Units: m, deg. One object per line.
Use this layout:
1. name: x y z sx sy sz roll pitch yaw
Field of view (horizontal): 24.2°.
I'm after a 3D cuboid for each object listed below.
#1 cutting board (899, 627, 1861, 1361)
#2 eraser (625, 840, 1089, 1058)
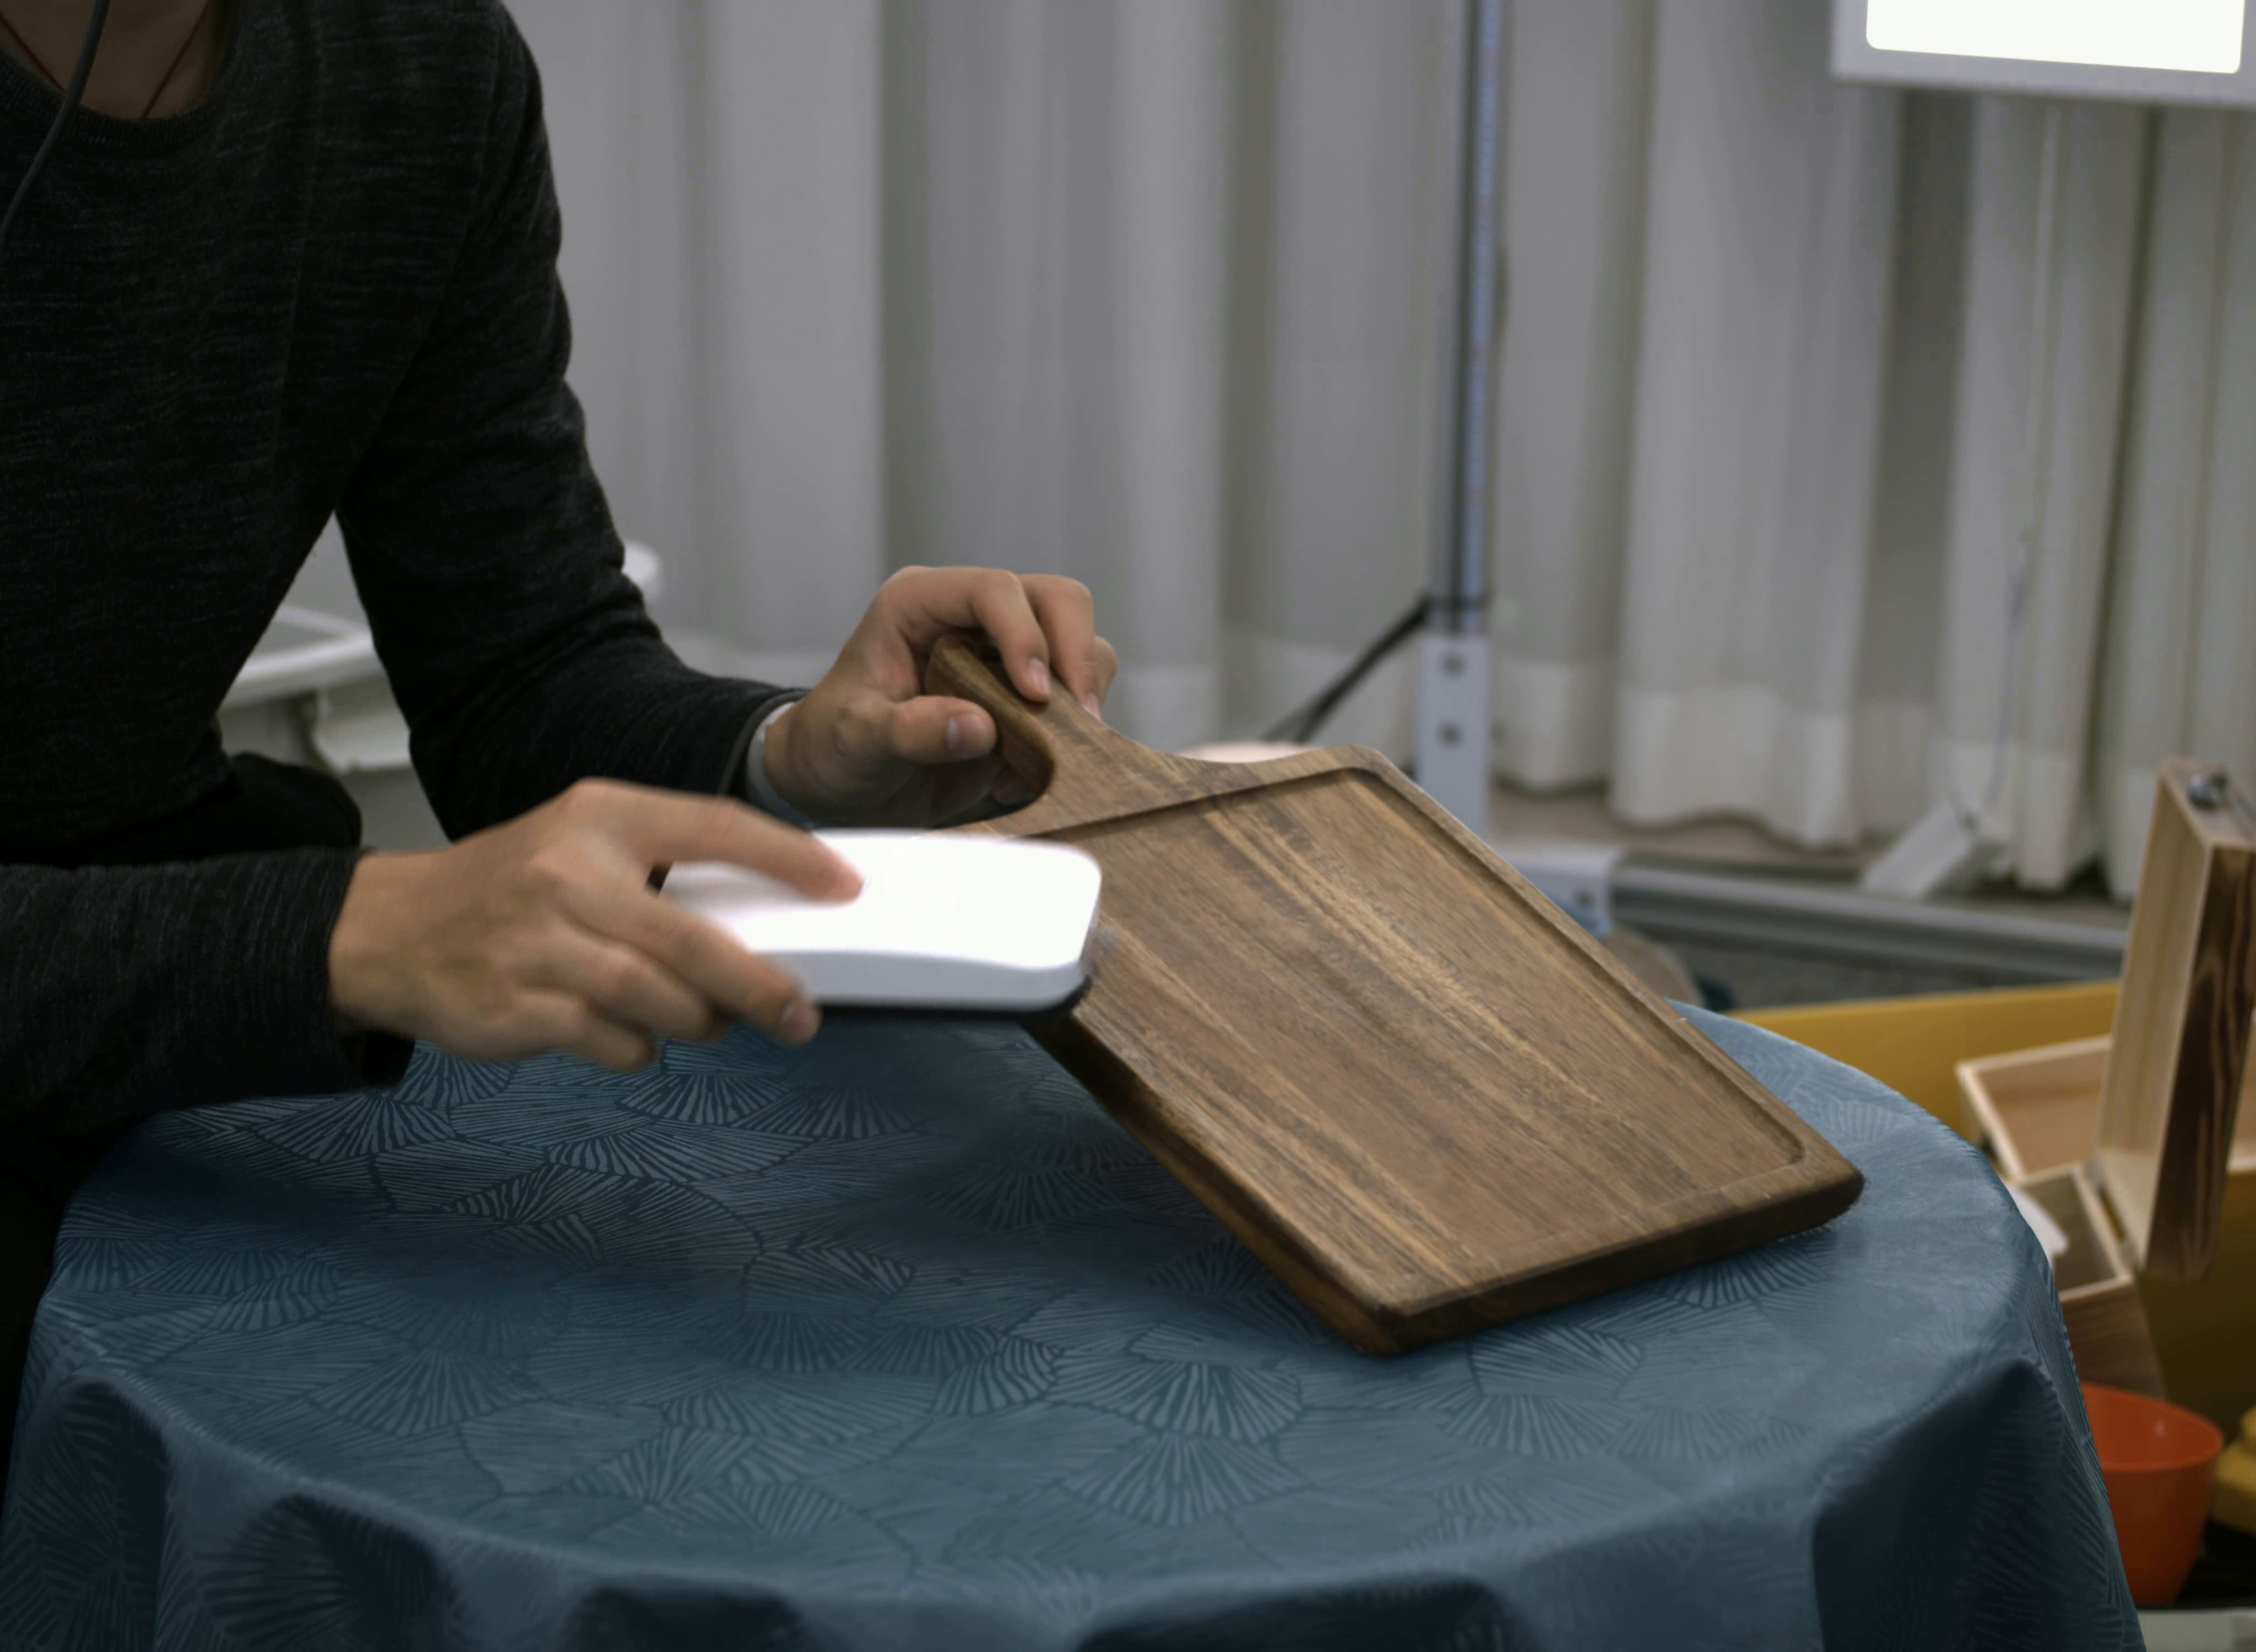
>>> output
1. cutting board: 0.046 0.035 1.638 0.202 0.023 0.347 -12 41 -38
2. eraser: -0.078 0.036 1.526 0.130 0.035 0.063 4 33 11
